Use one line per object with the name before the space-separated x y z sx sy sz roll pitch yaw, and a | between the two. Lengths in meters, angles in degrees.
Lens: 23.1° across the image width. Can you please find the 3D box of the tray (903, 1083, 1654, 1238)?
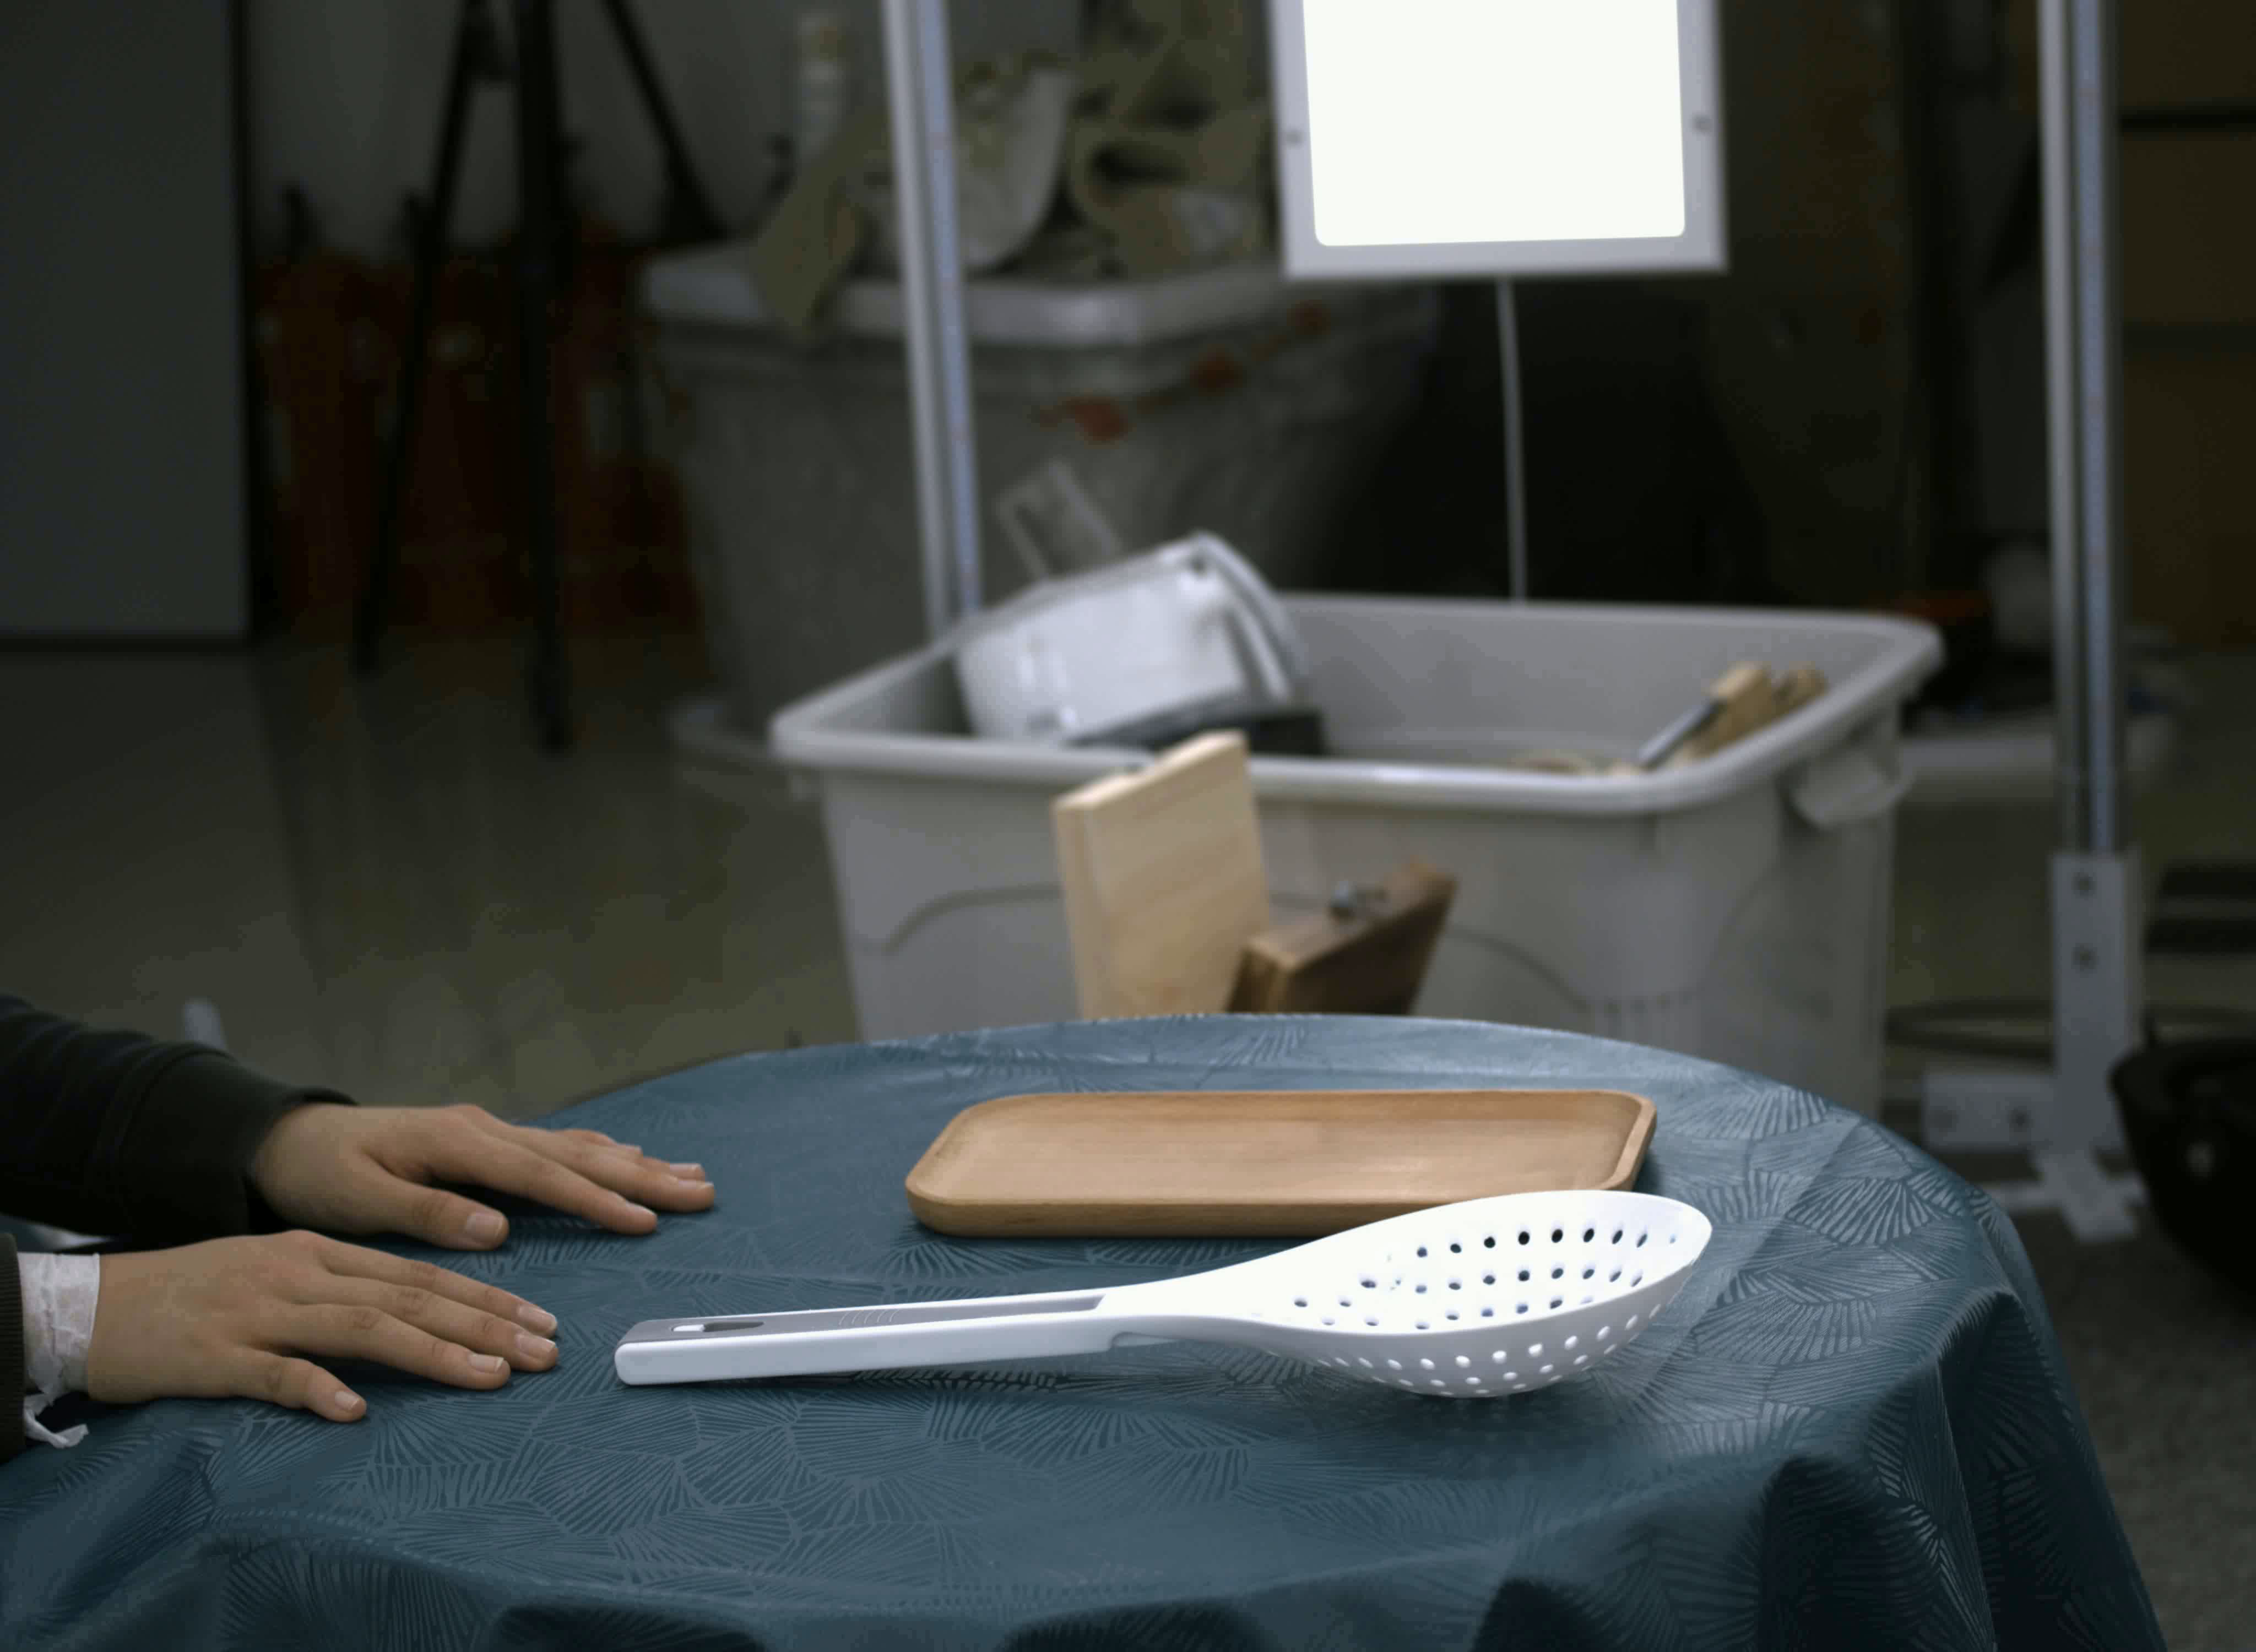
tray | 0.053 0.115 1.889 0.253 0.023 0.129 -2 12 16

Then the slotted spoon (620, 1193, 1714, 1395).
slotted spoon | 0.009 0.150 1.703 0.353 0.046 0.134 -2 12 16
